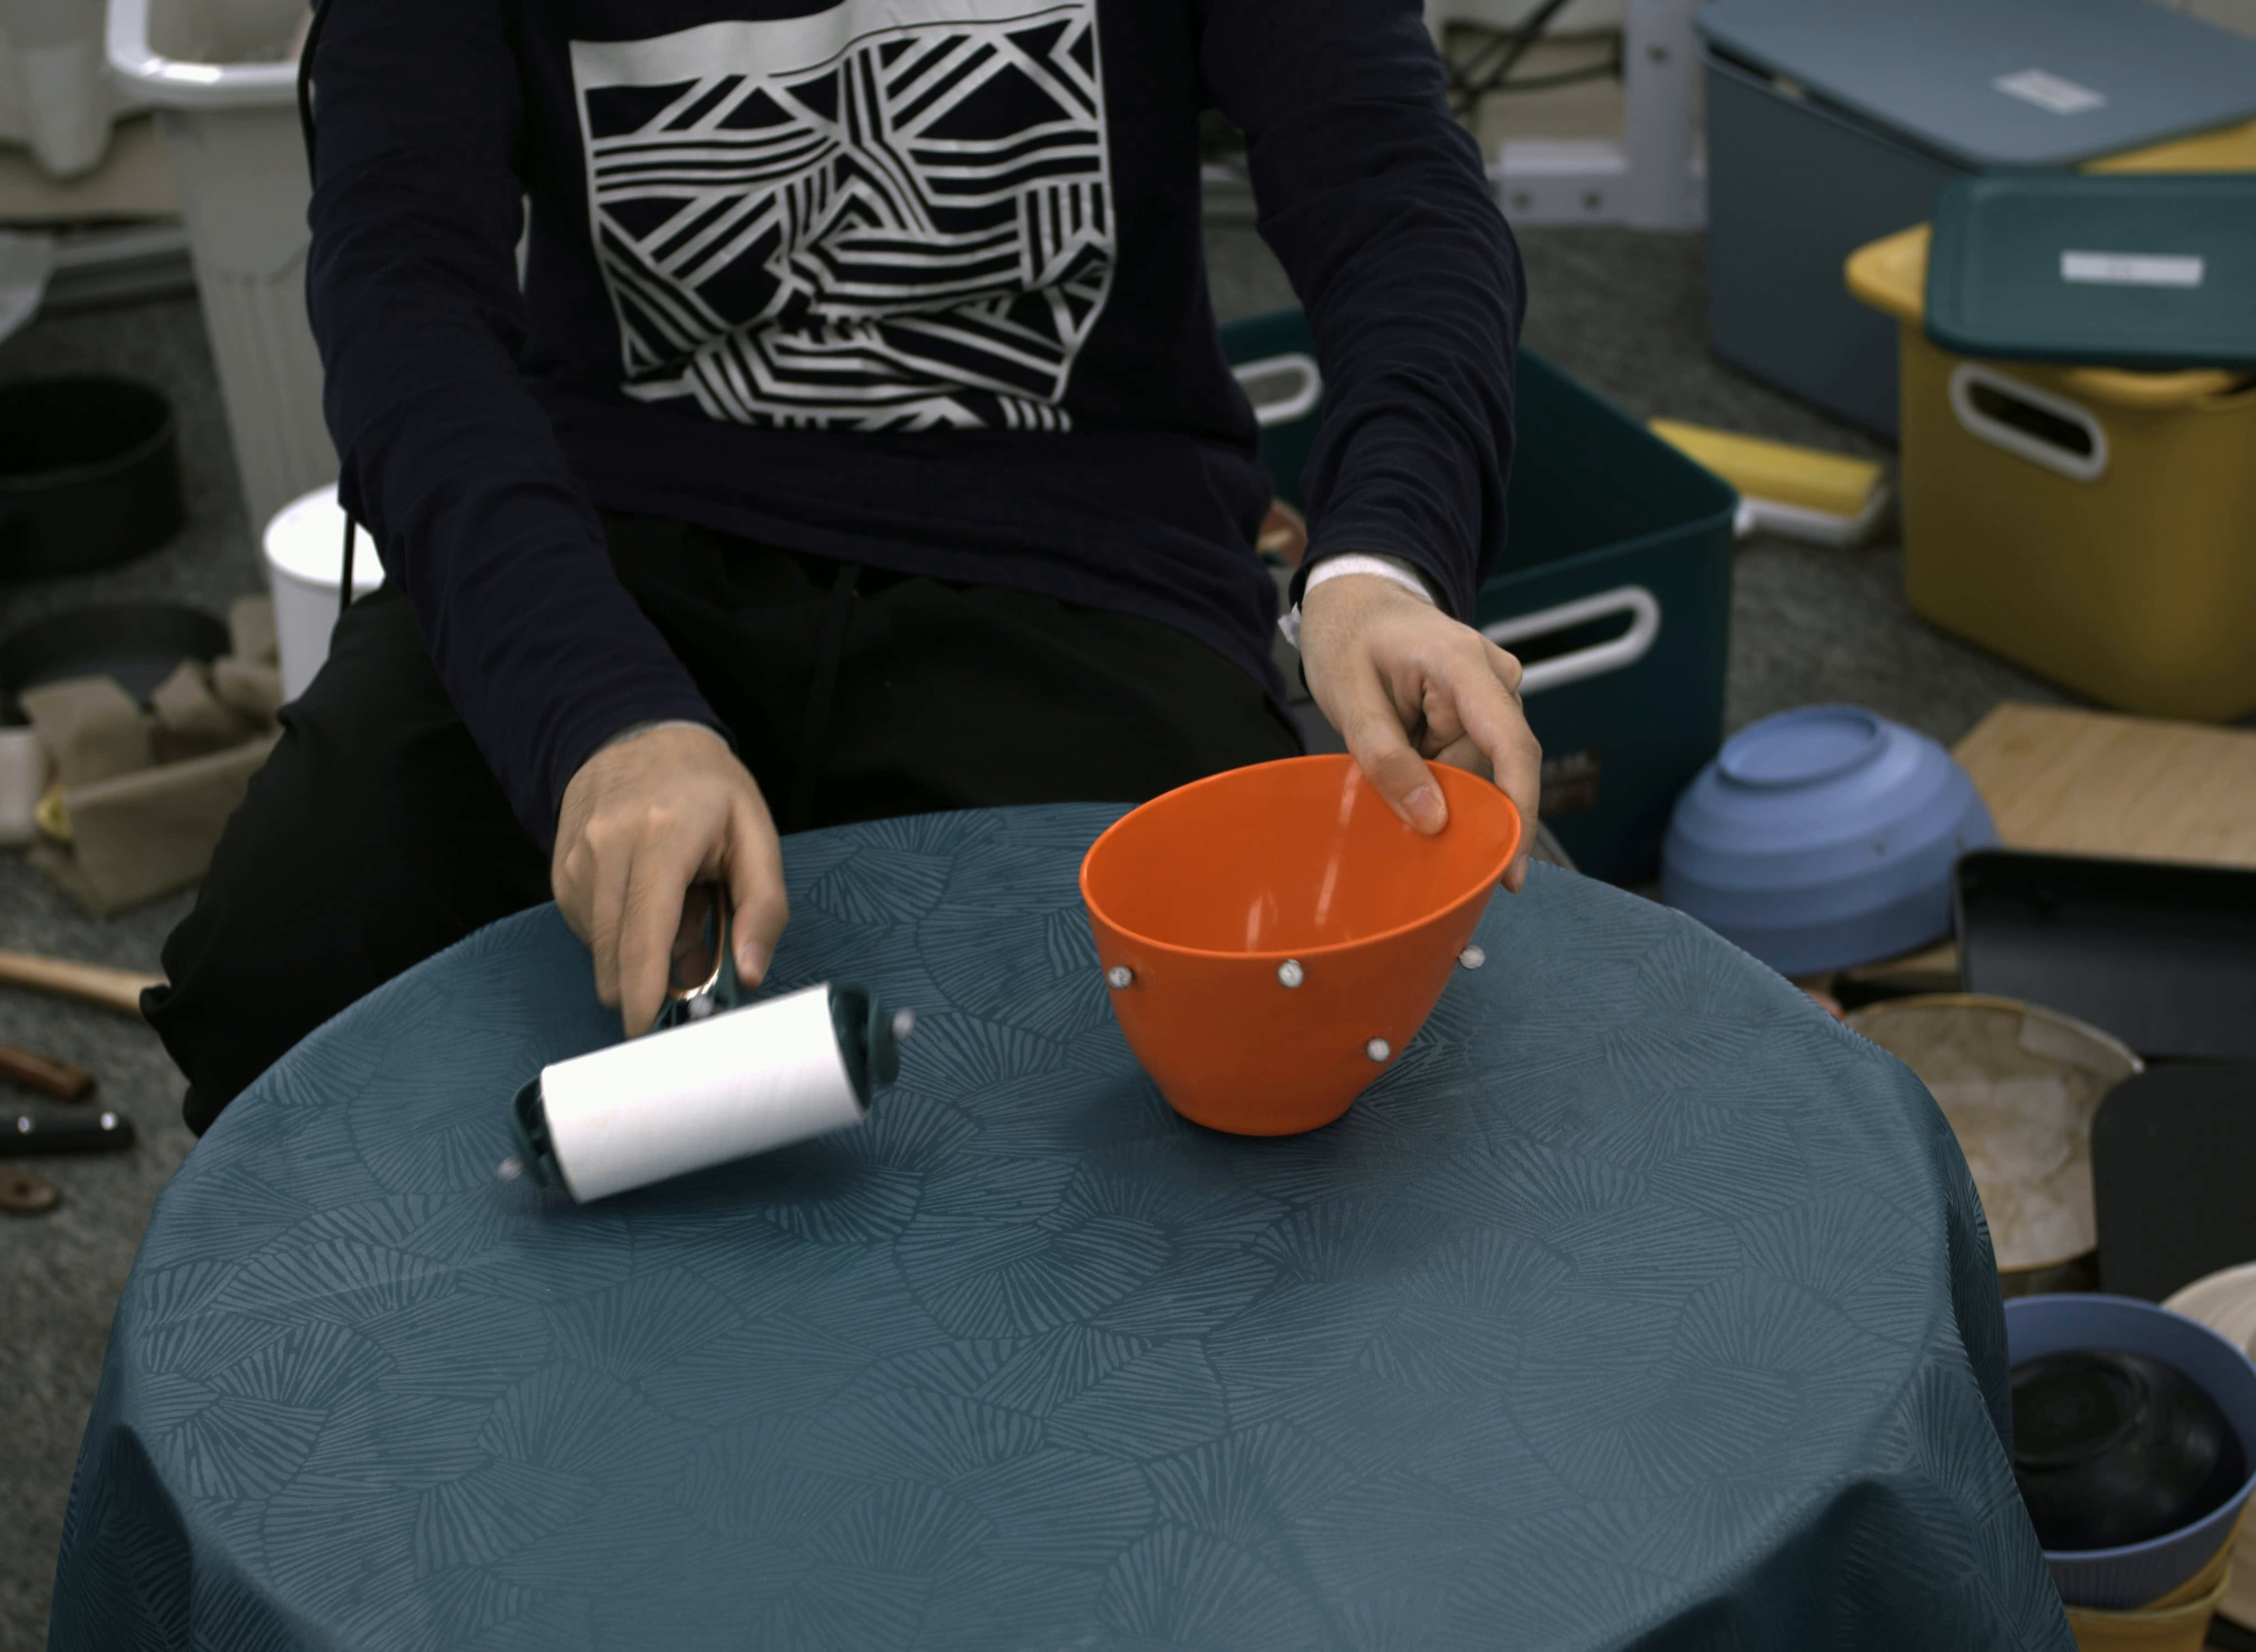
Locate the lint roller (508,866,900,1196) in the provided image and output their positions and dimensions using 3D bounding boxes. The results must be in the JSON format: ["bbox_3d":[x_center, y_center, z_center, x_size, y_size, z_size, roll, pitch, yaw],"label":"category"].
[{"bbox_3d":[-0.149,0.050,1.921,0.134,0.048,0.183,-18,34,2],"label":"lint roller"}]

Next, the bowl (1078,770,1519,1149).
[{"bbox_3d":[0.055,0.049,1.894,0.147,0.103,0.150,2,24,0],"label":"bowl"}]
